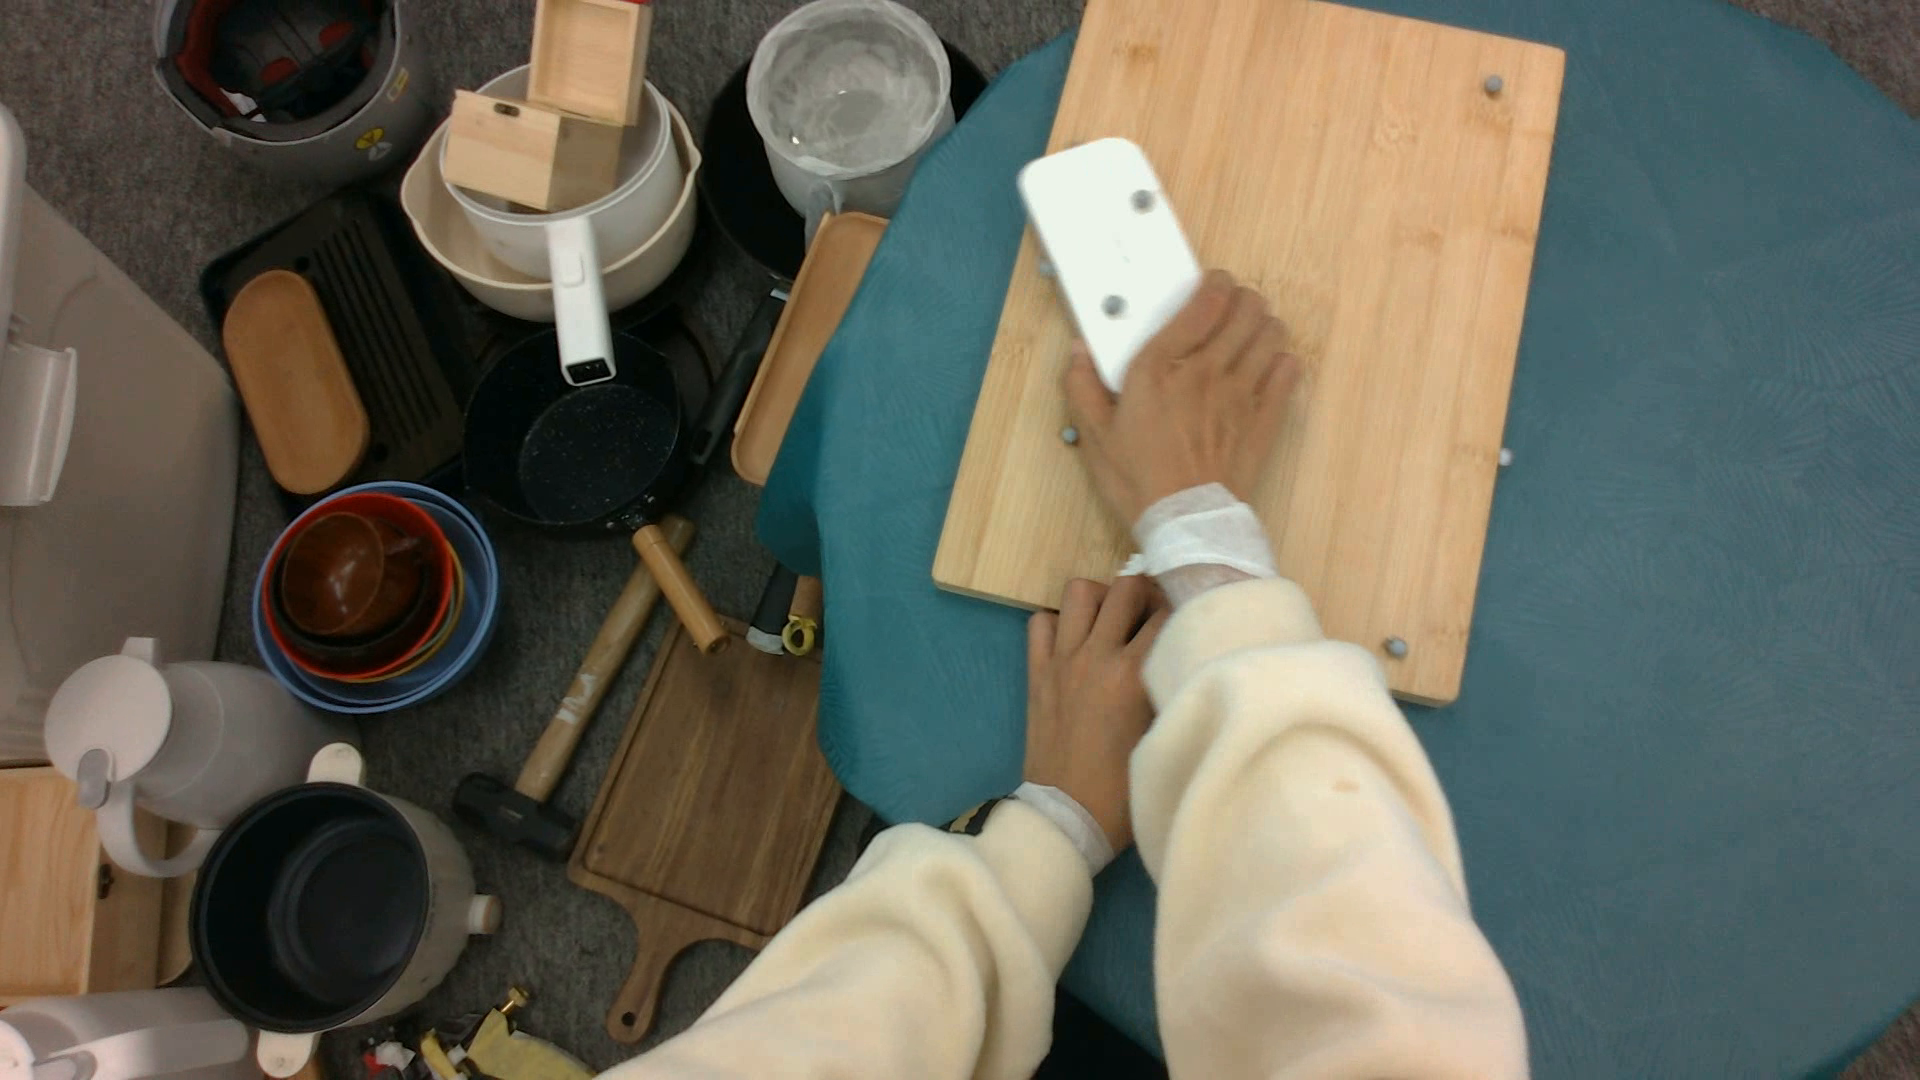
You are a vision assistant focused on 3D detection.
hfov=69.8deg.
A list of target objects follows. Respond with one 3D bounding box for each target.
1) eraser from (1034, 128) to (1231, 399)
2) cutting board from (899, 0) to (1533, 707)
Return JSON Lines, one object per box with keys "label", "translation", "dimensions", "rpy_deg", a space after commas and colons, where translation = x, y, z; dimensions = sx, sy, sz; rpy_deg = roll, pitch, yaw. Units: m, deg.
{"label": "eraser", "translation": [0.078, -0.131, 0.647], "dimensions": [0.063, 0.034, 0.131], "rpy_deg": [-15, 73, -4]}
{"label": "cutting board", "translation": [0.131, -0.114, 0.668], "dimensions": [0.250, 0.023, 0.349], "rpy_deg": [12, 75, 5]}
